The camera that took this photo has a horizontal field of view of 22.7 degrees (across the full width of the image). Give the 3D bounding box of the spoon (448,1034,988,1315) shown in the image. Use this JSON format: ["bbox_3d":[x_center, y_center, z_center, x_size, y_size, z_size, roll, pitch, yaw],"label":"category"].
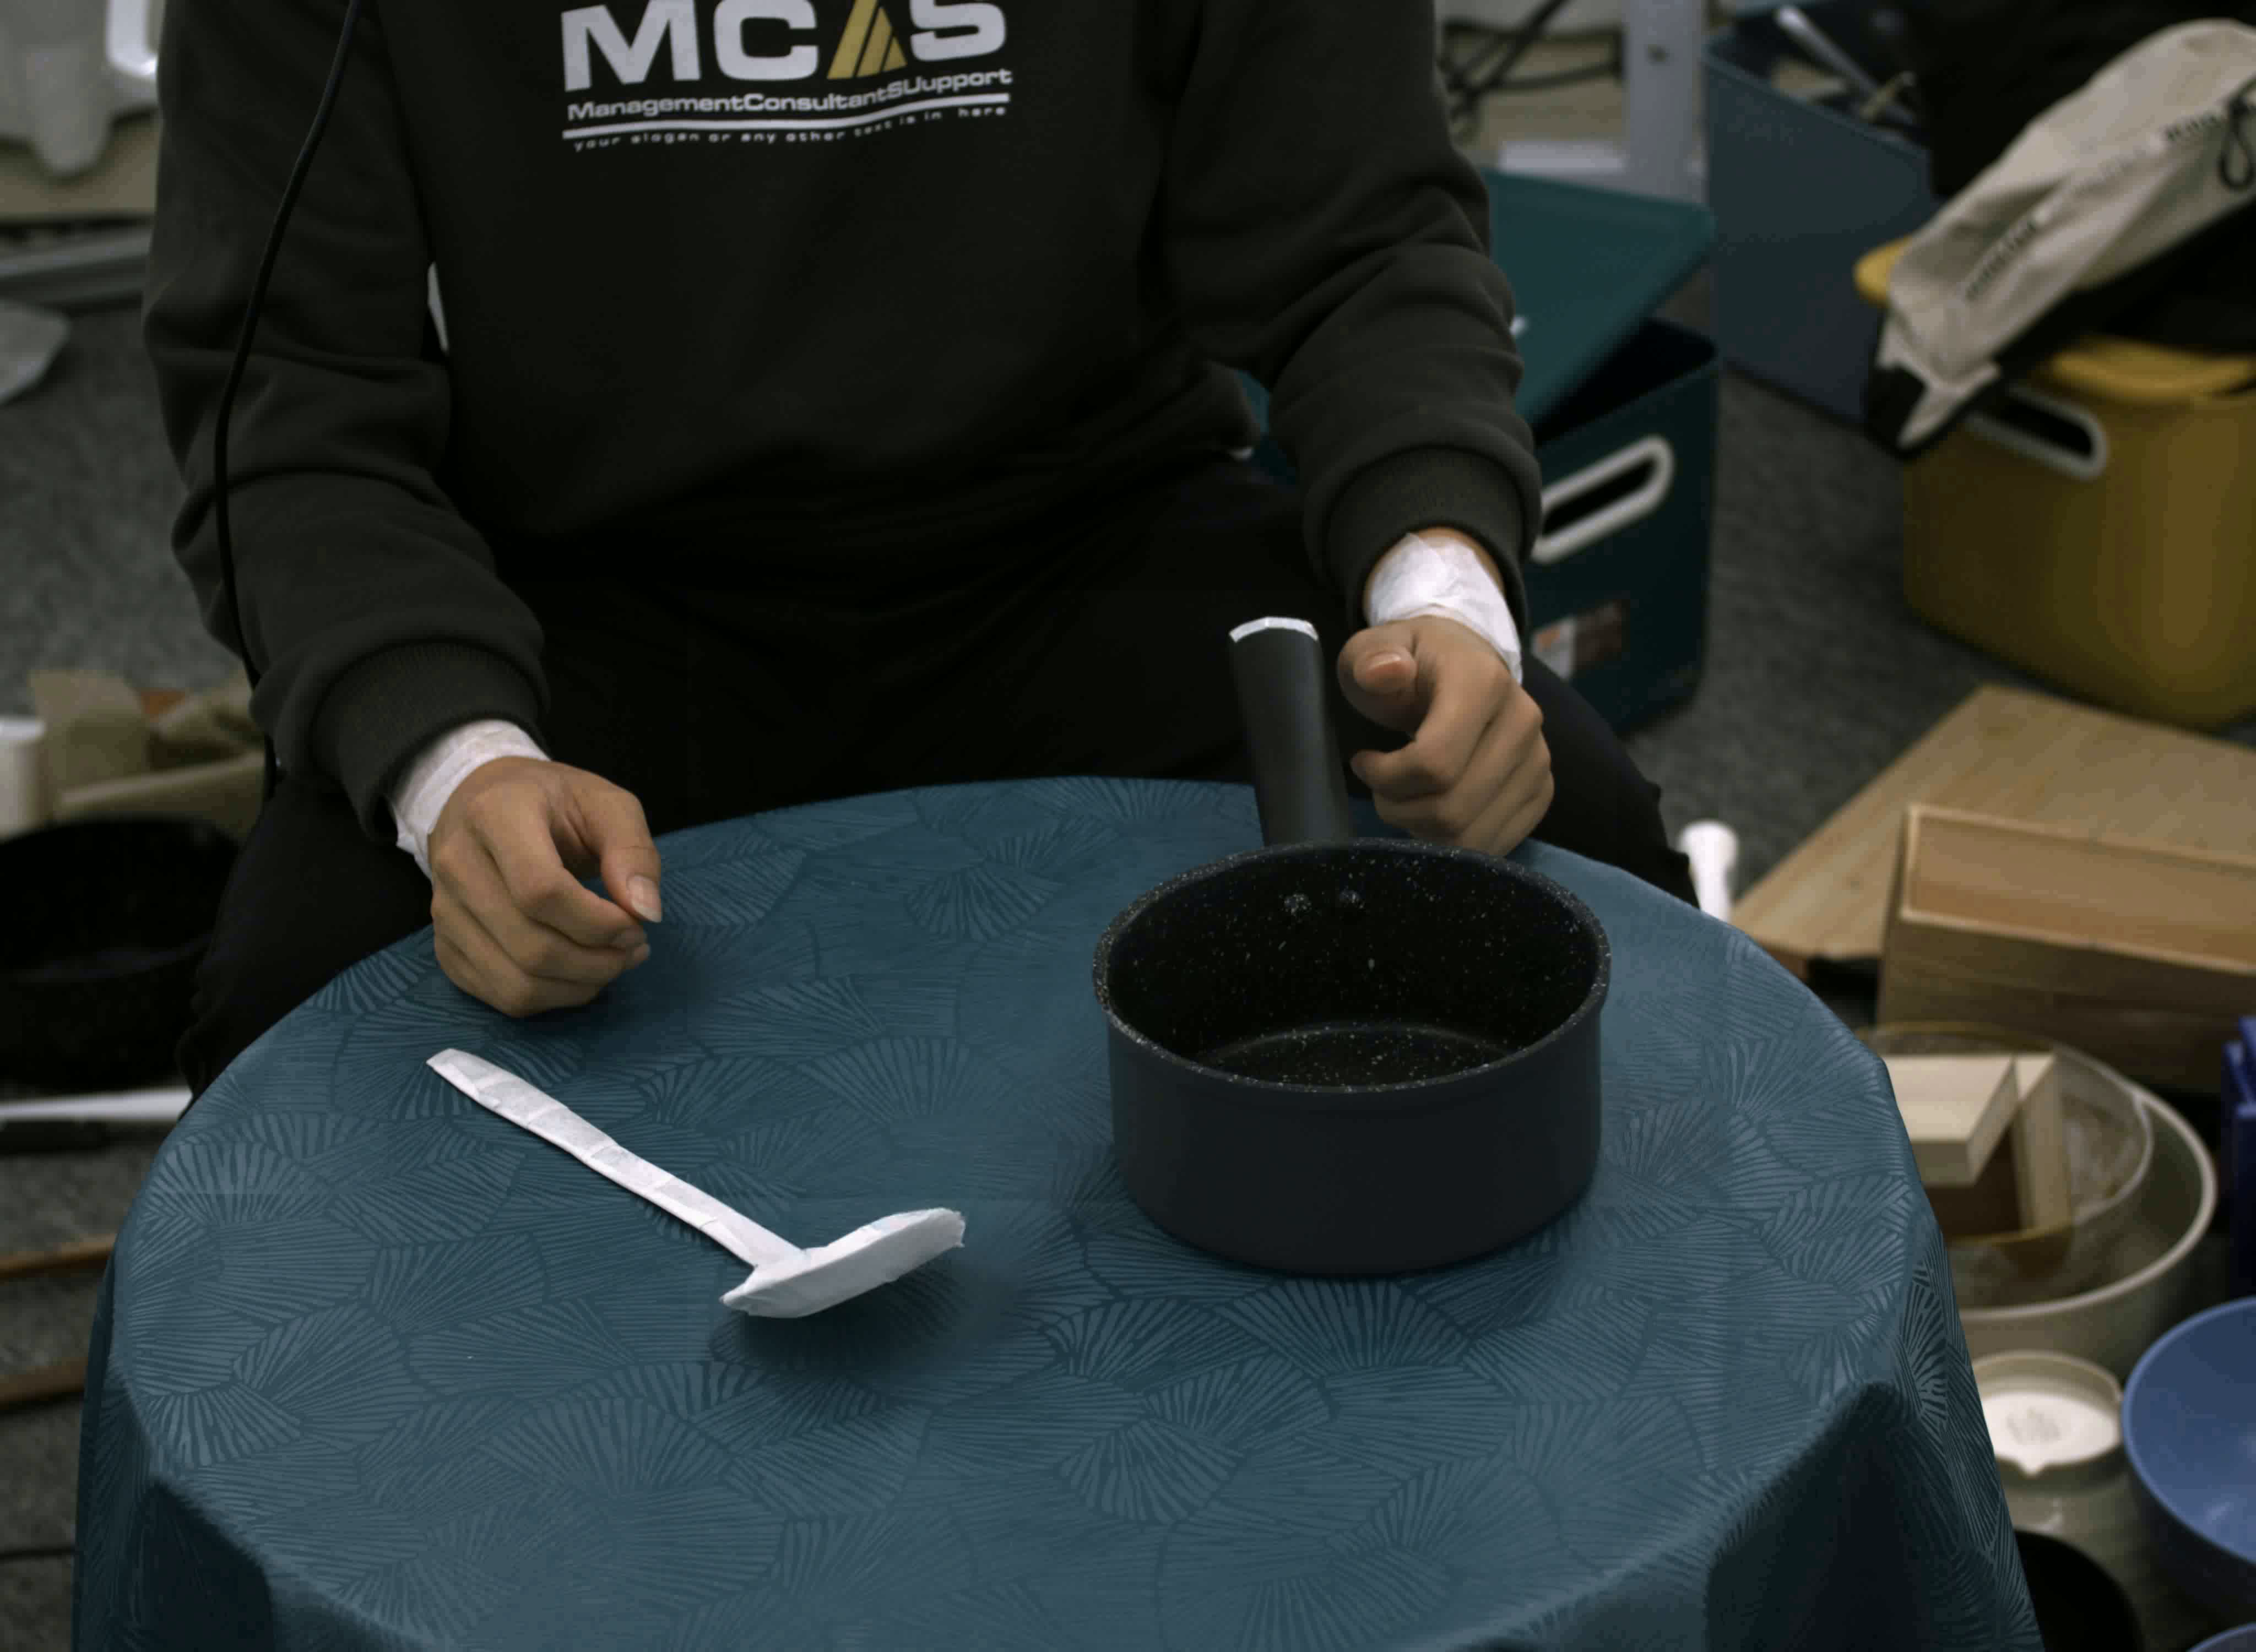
[{"bbox_3d":[-0.146,0.098,1.859,0.101,0.059,0.277,-19,31,-33],"label":"spoon"}]

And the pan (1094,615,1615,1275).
[{"bbox_3d":[0.072,0.037,1.929,0.171,0.085,0.333,-2,28,-1],"label":"pan"}]
